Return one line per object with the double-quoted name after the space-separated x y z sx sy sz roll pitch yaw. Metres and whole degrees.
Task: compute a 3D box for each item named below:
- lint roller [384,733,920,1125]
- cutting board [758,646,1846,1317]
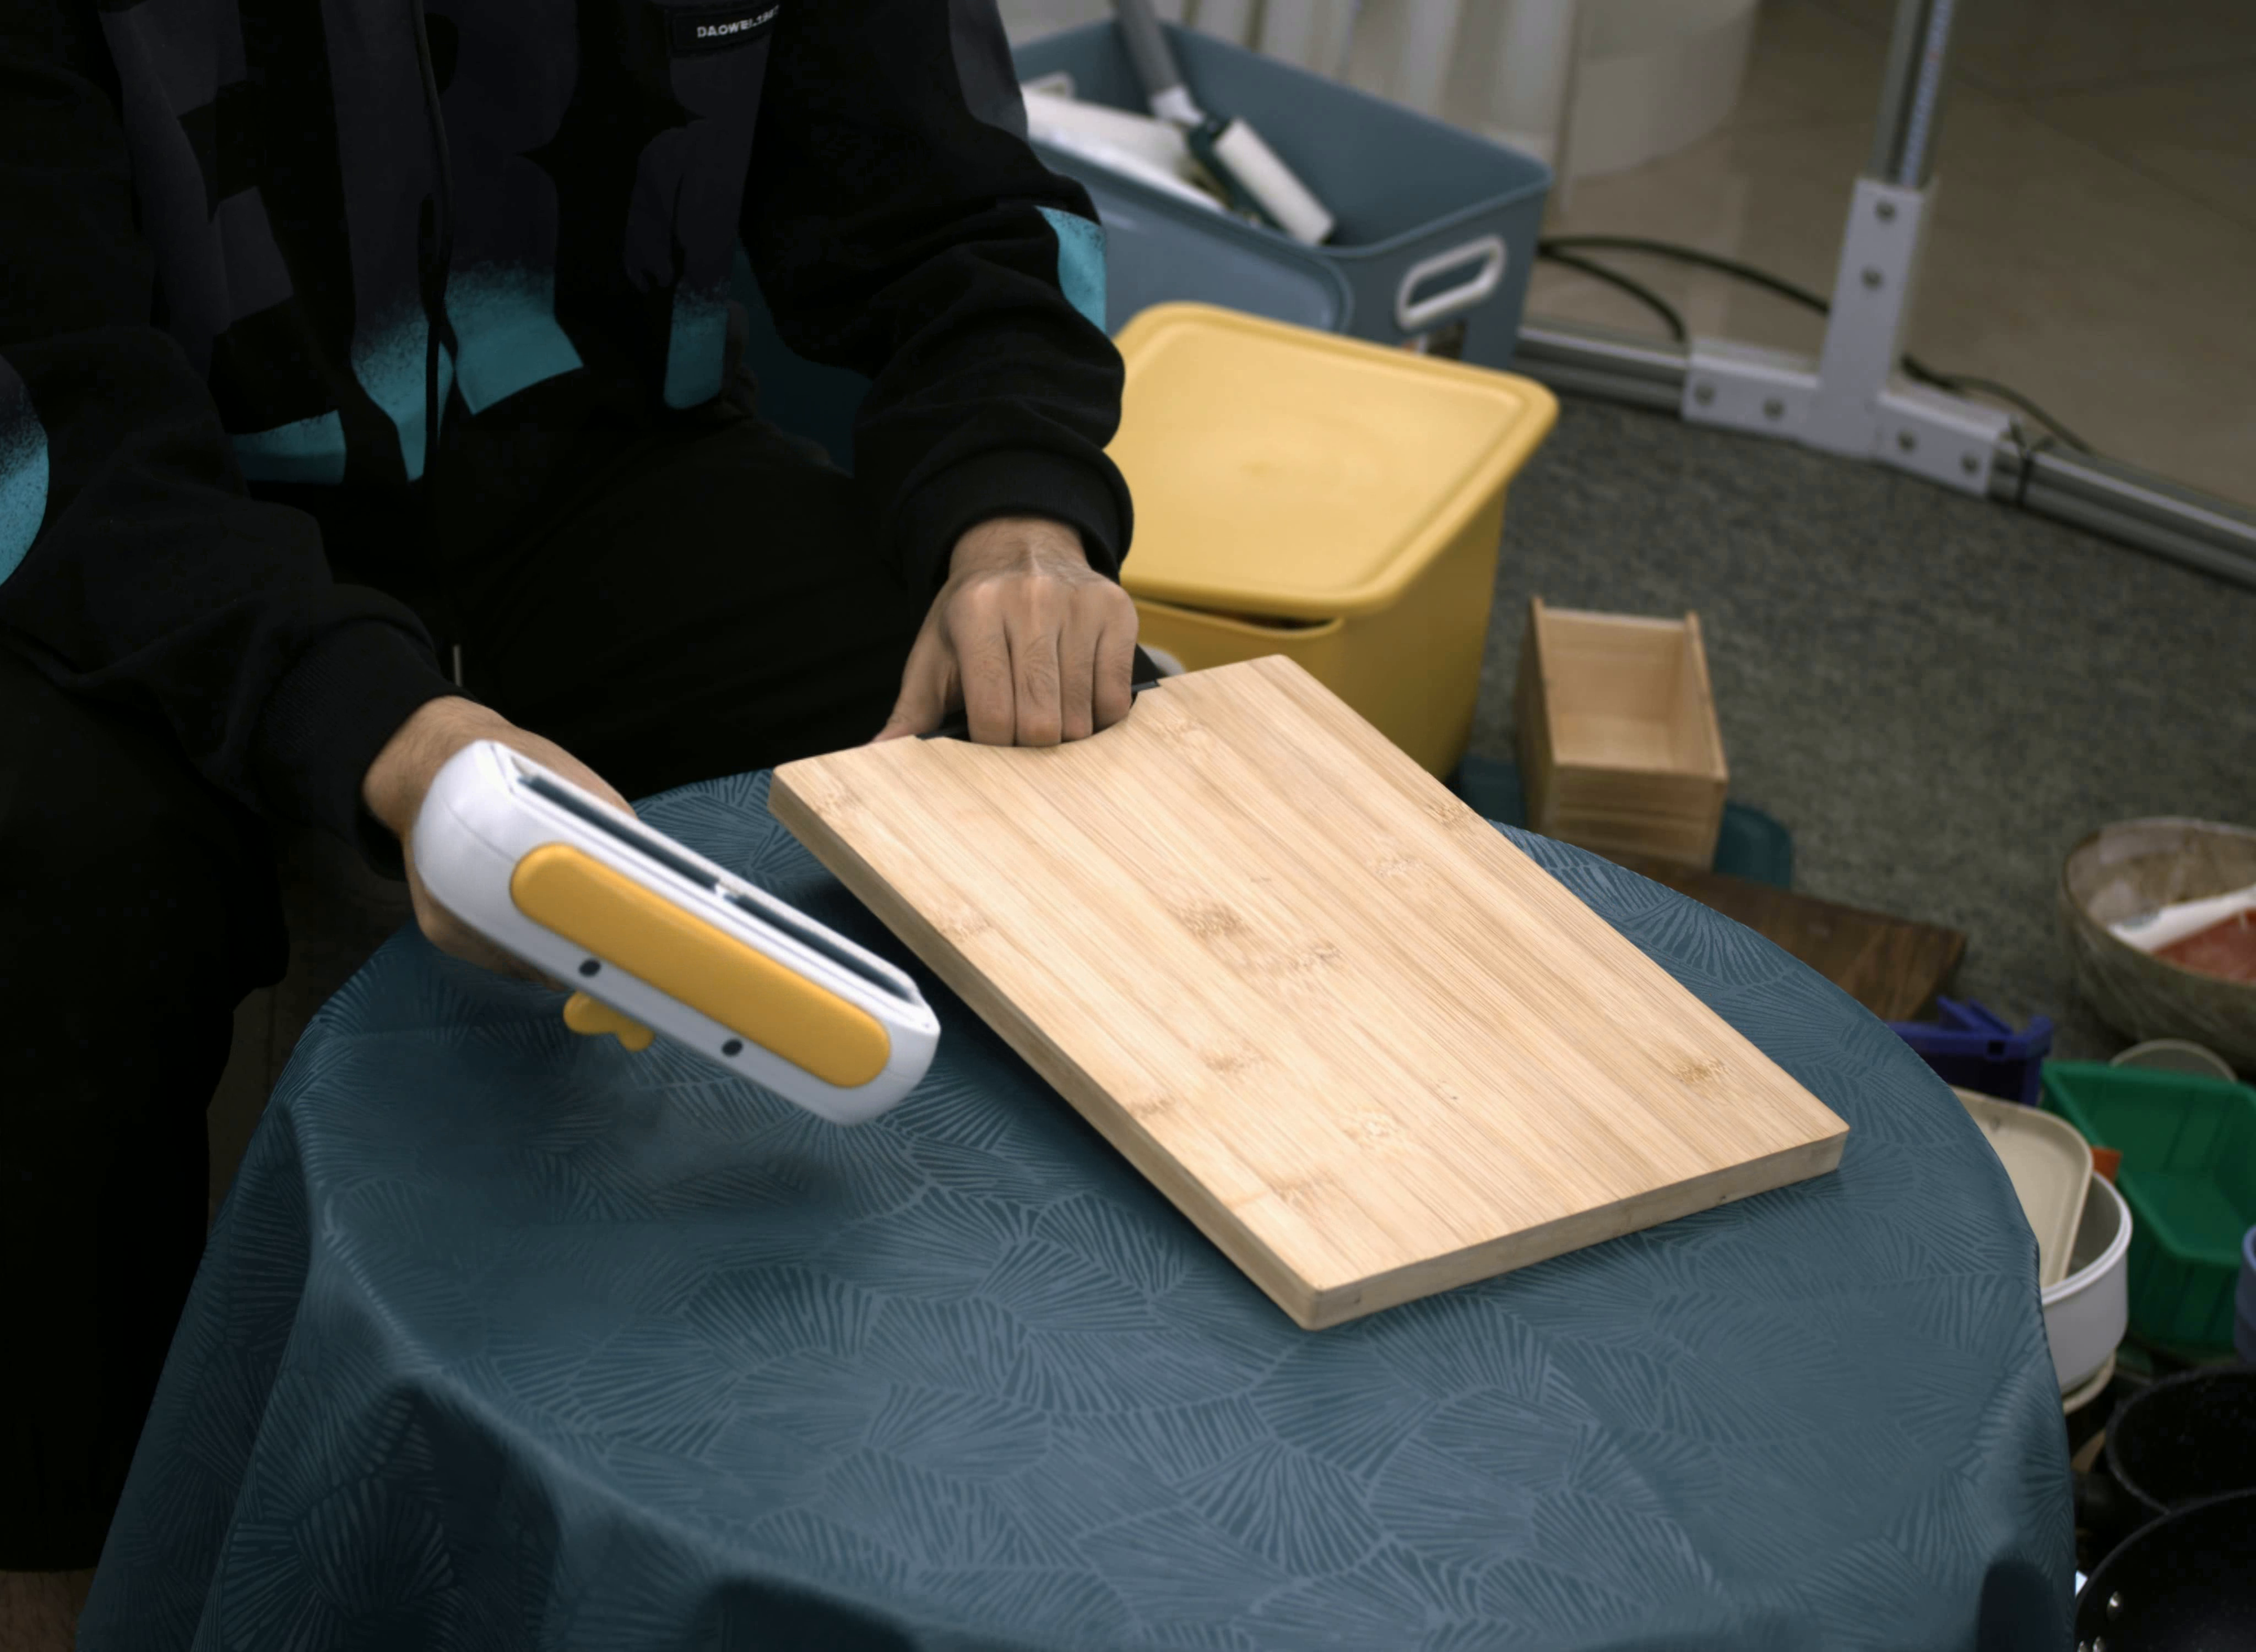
-0.175 0.028 1.790 0.191 0.074 0.193 26 4 -21 "lint roller"
0.057 0.047 1.908 0.249 0.023 0.352 -13 38 -34 "cutting board"
